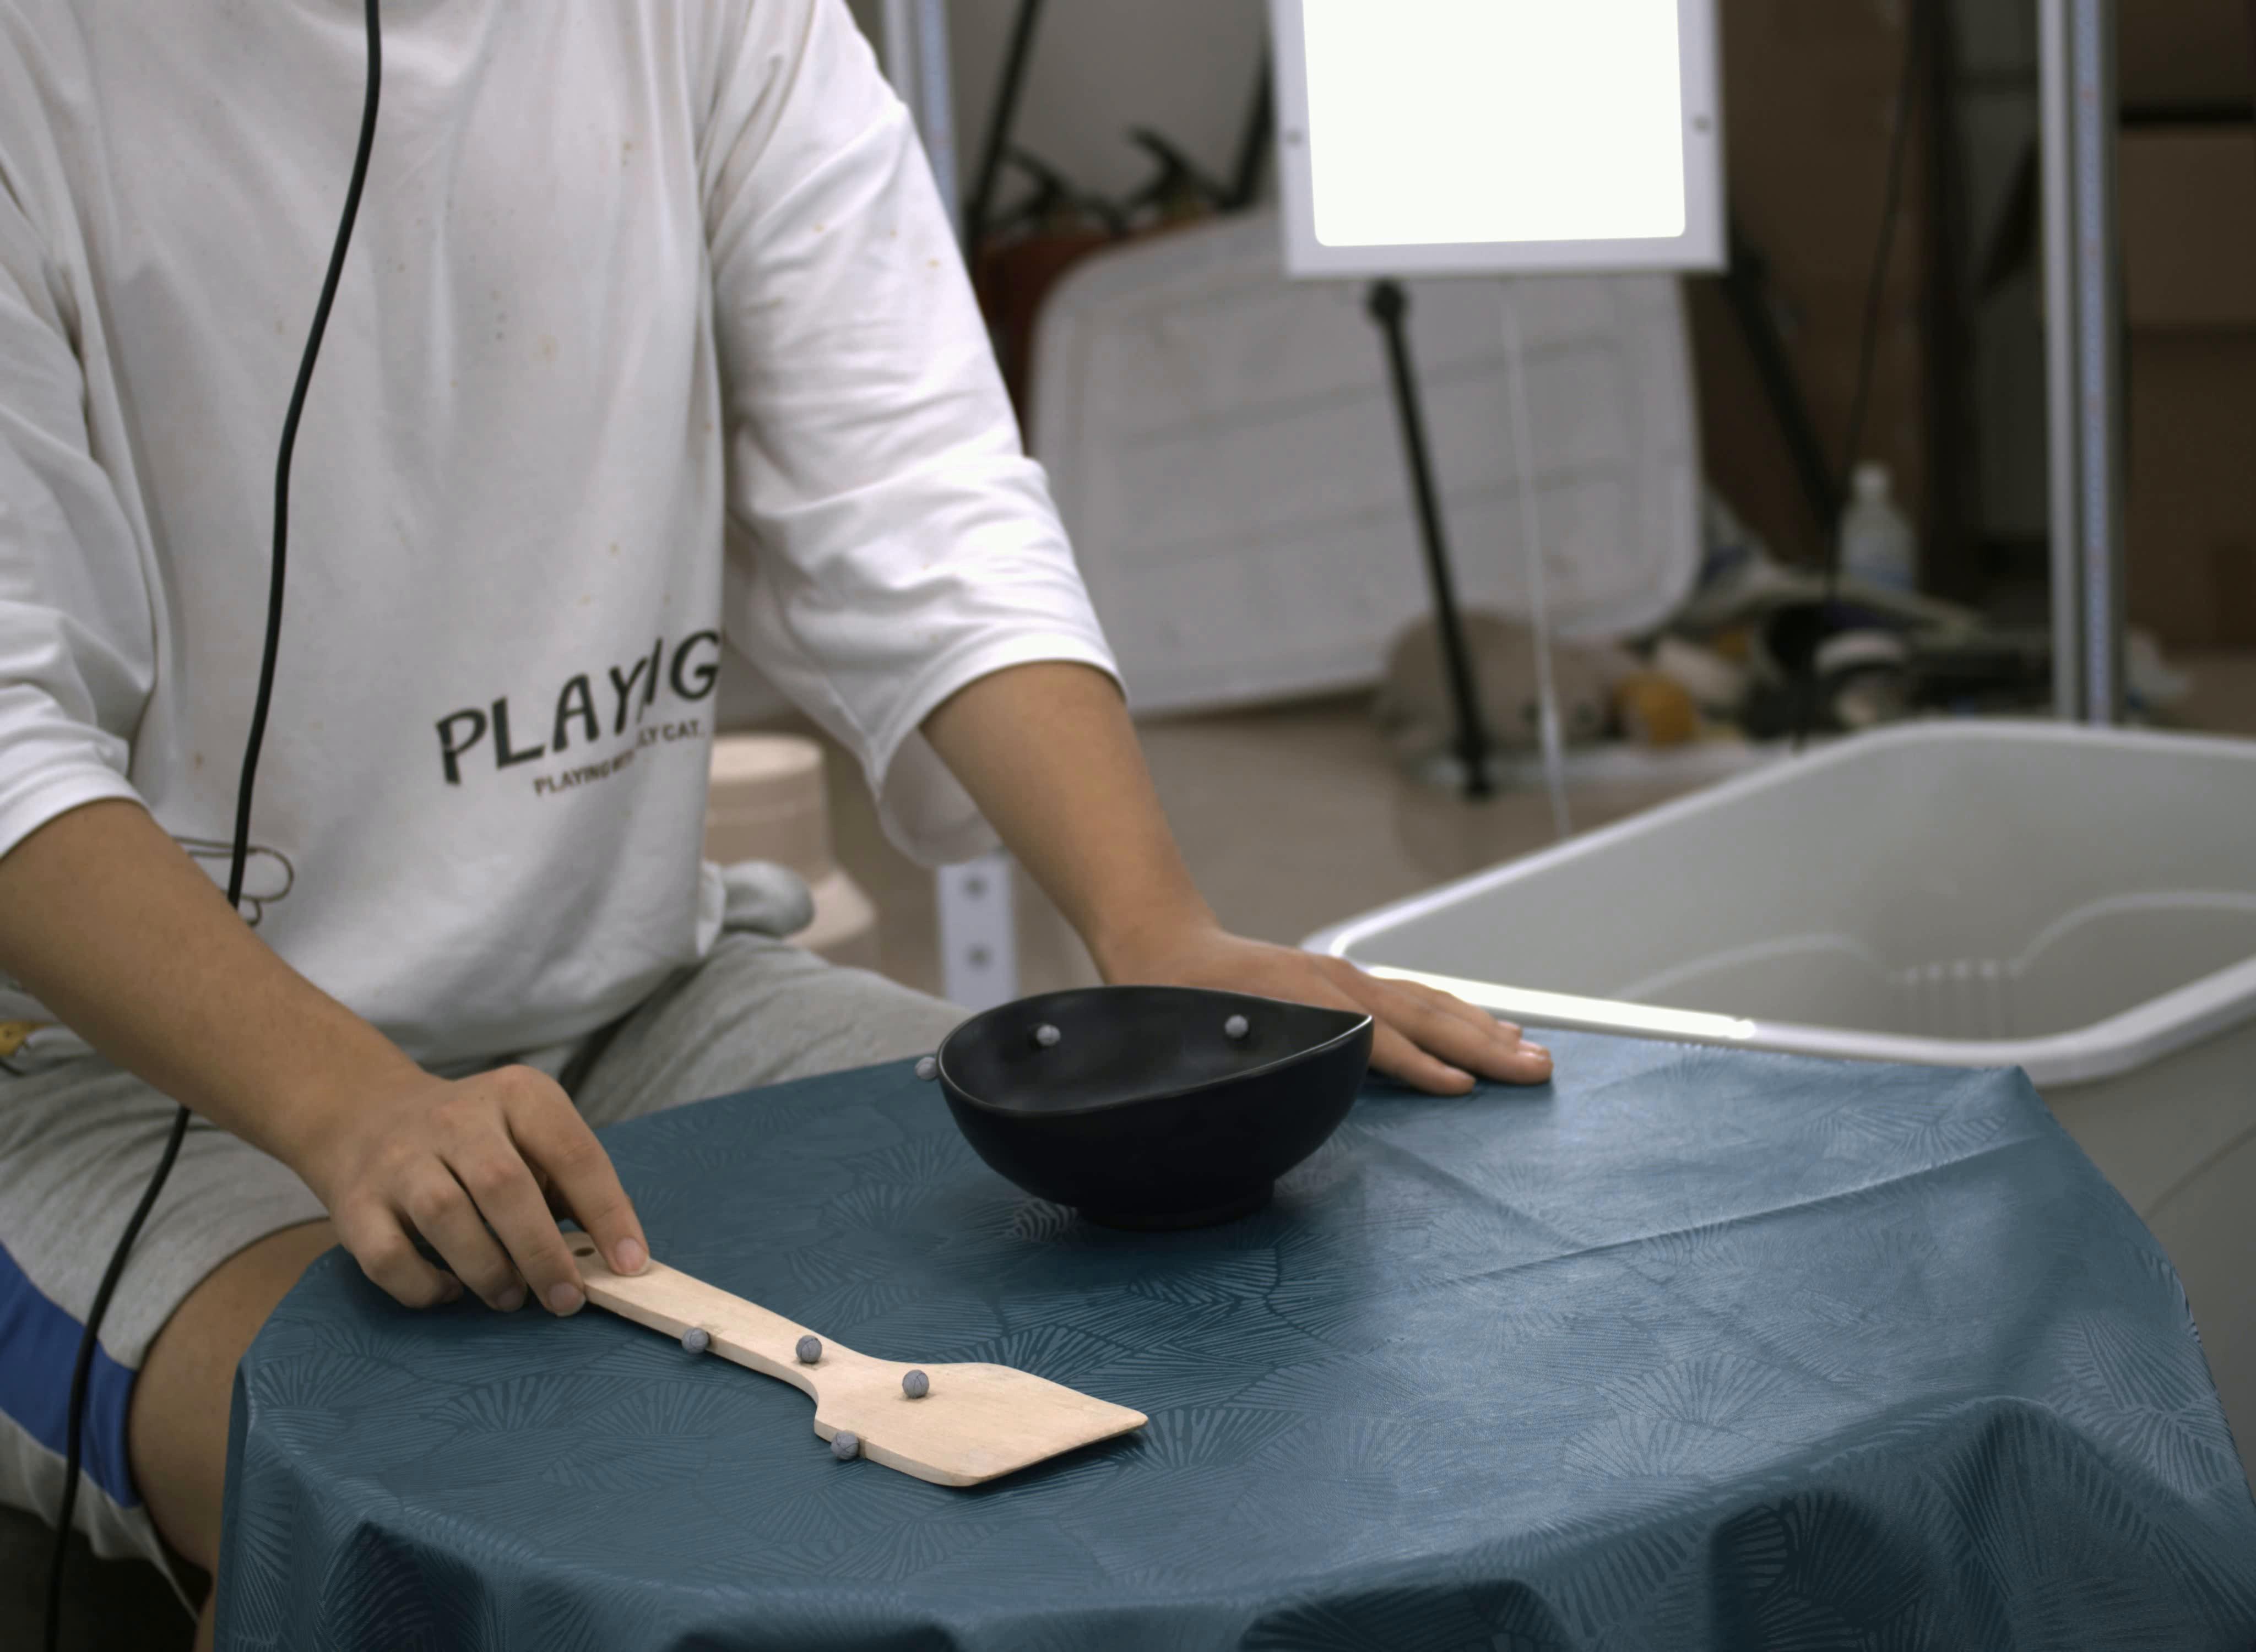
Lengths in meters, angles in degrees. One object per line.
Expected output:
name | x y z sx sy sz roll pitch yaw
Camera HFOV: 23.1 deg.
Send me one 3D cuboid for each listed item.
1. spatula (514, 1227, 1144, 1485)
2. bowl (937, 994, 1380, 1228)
spatula | -0.110 0.165 1.754 0.070 0.011 0.299 -16 19 -35
bowl | 0.013 0.098 1.877 0.140 0.067 0.166 6 15 40
